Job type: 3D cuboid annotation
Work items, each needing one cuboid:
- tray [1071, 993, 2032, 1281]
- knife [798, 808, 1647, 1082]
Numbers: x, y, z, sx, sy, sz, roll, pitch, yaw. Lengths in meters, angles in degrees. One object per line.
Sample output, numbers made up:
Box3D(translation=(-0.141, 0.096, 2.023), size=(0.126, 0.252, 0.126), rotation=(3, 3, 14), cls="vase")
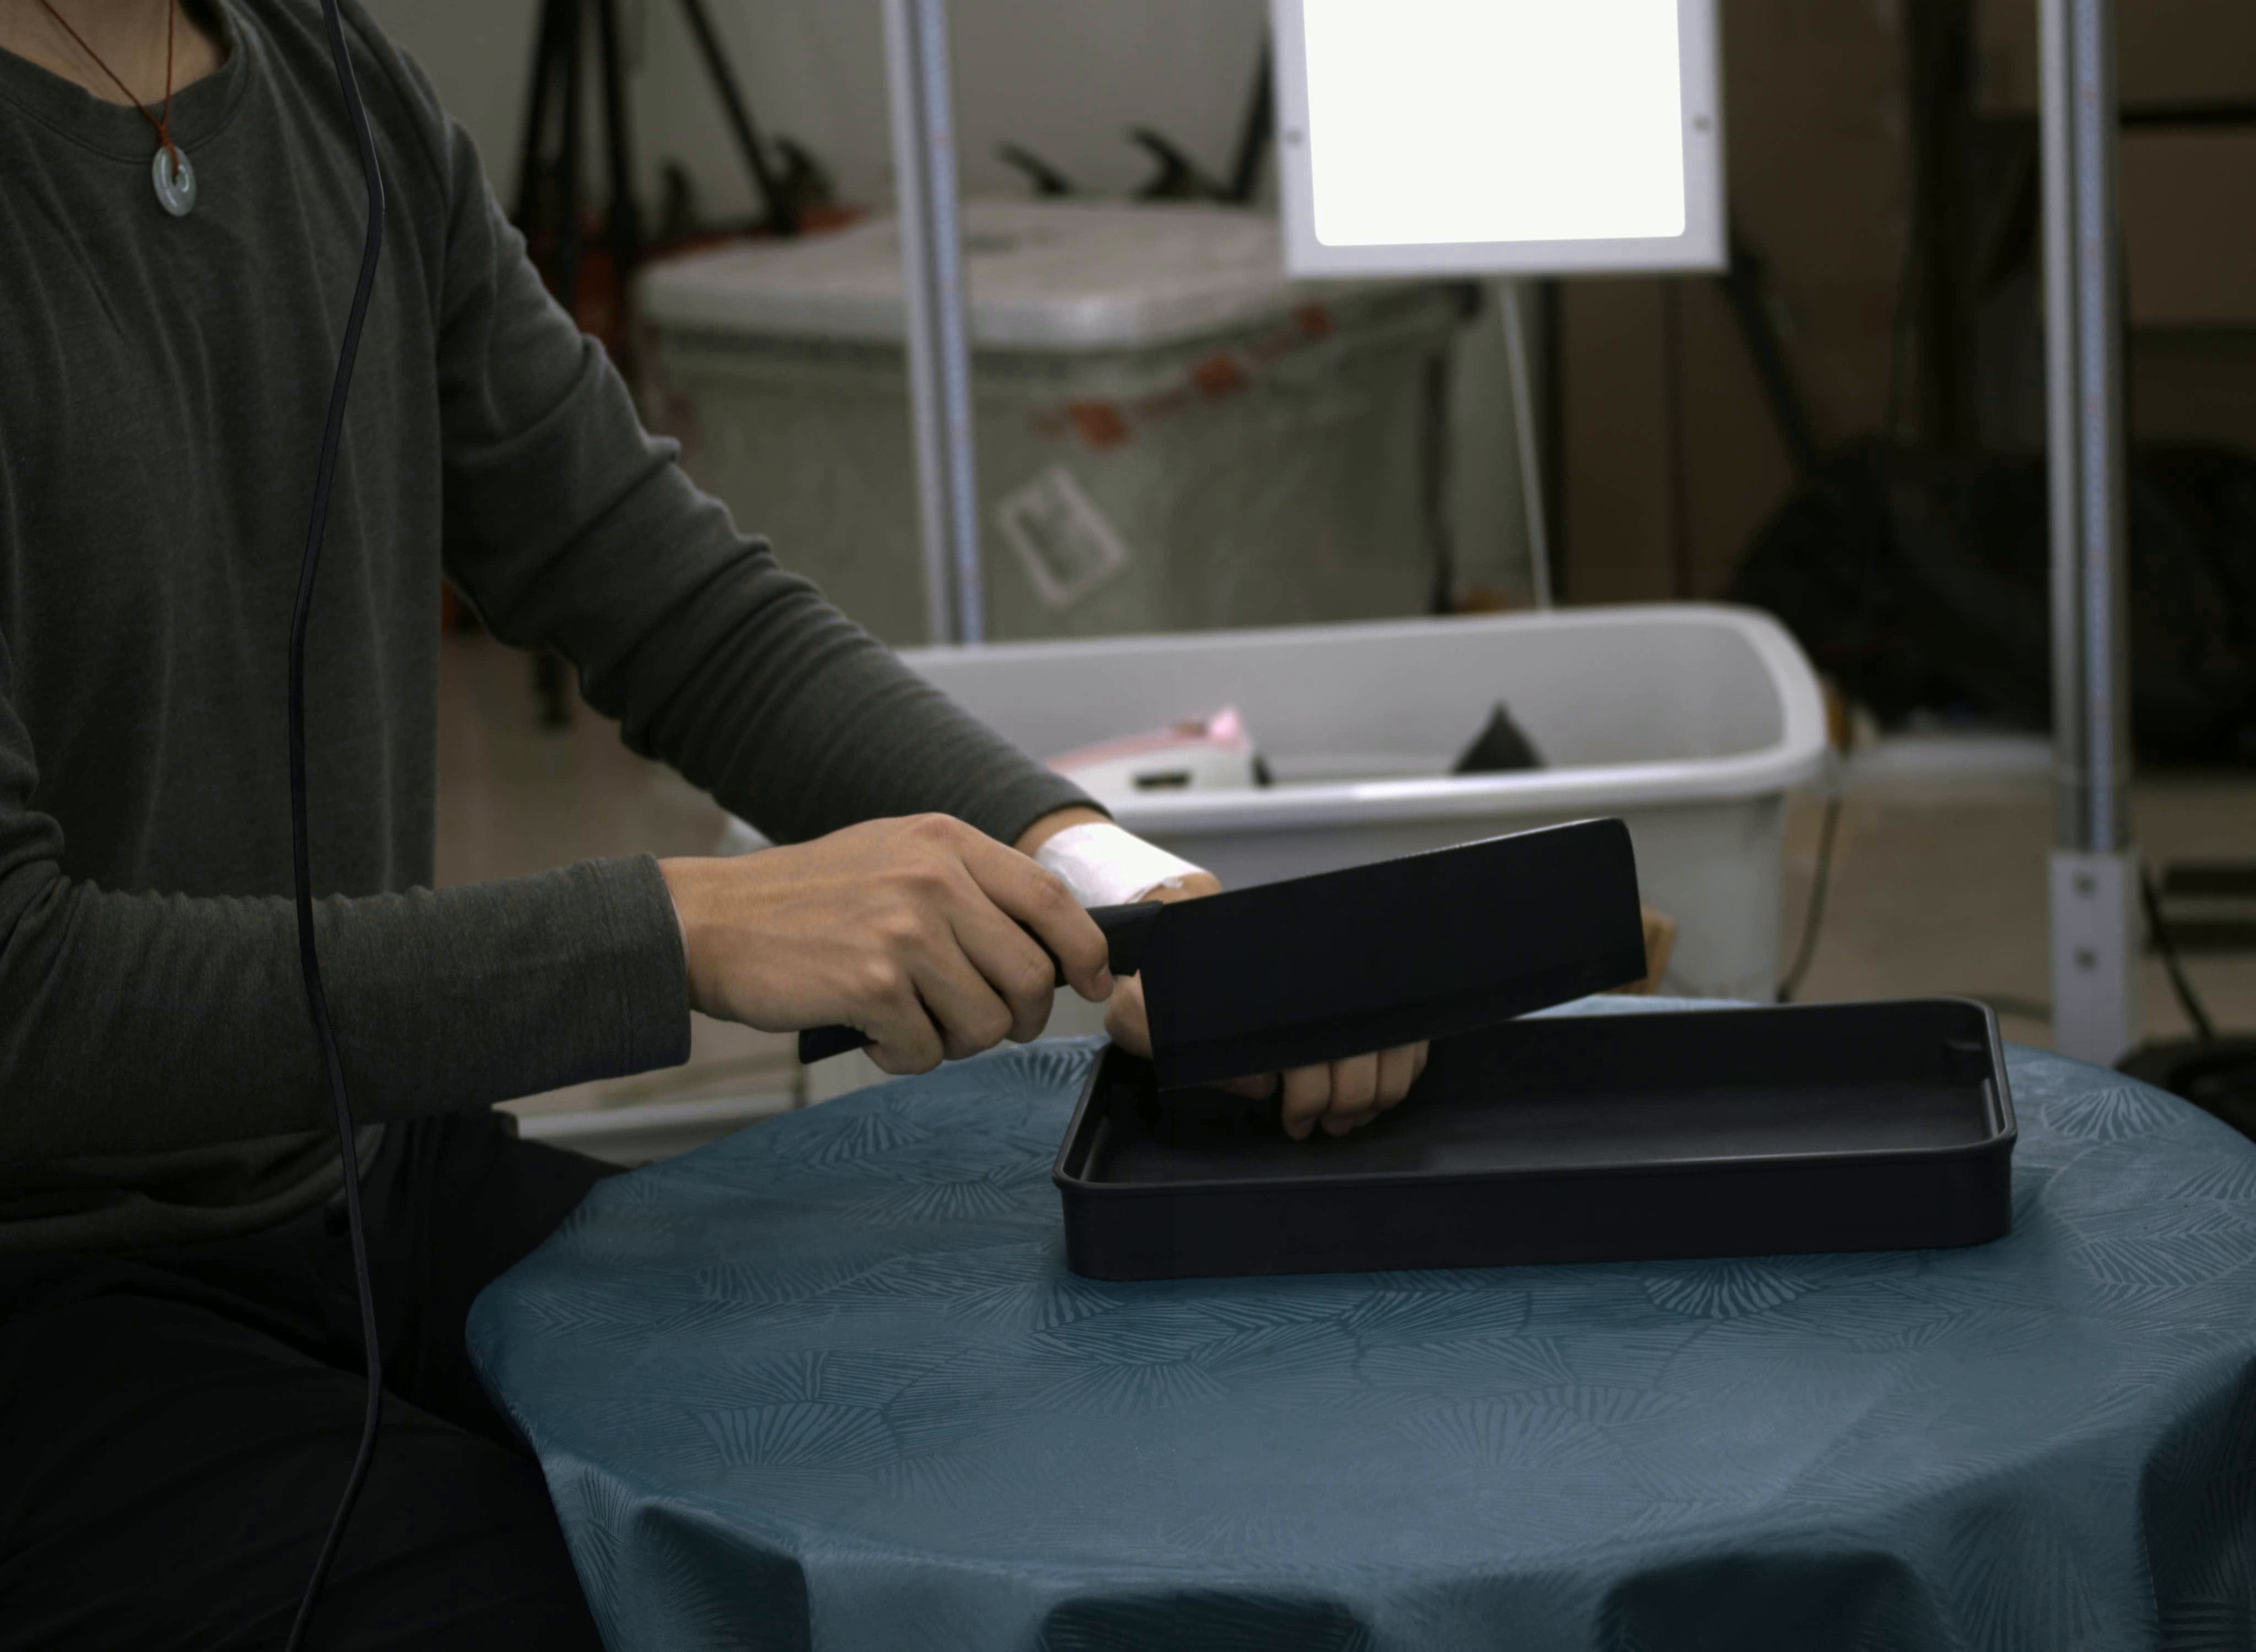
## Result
Box3D(translation=(0.145, 0.104, 1.865), size=(0.319, 0.037, 0.183), rotation=(-3, 14, 7), cls="tray")
Box3D(translation=(0.035, 0.049, 1.891), size=(0.299, 0.081, 0.021), rotation=(-7, 11, -9), cls="knife")
